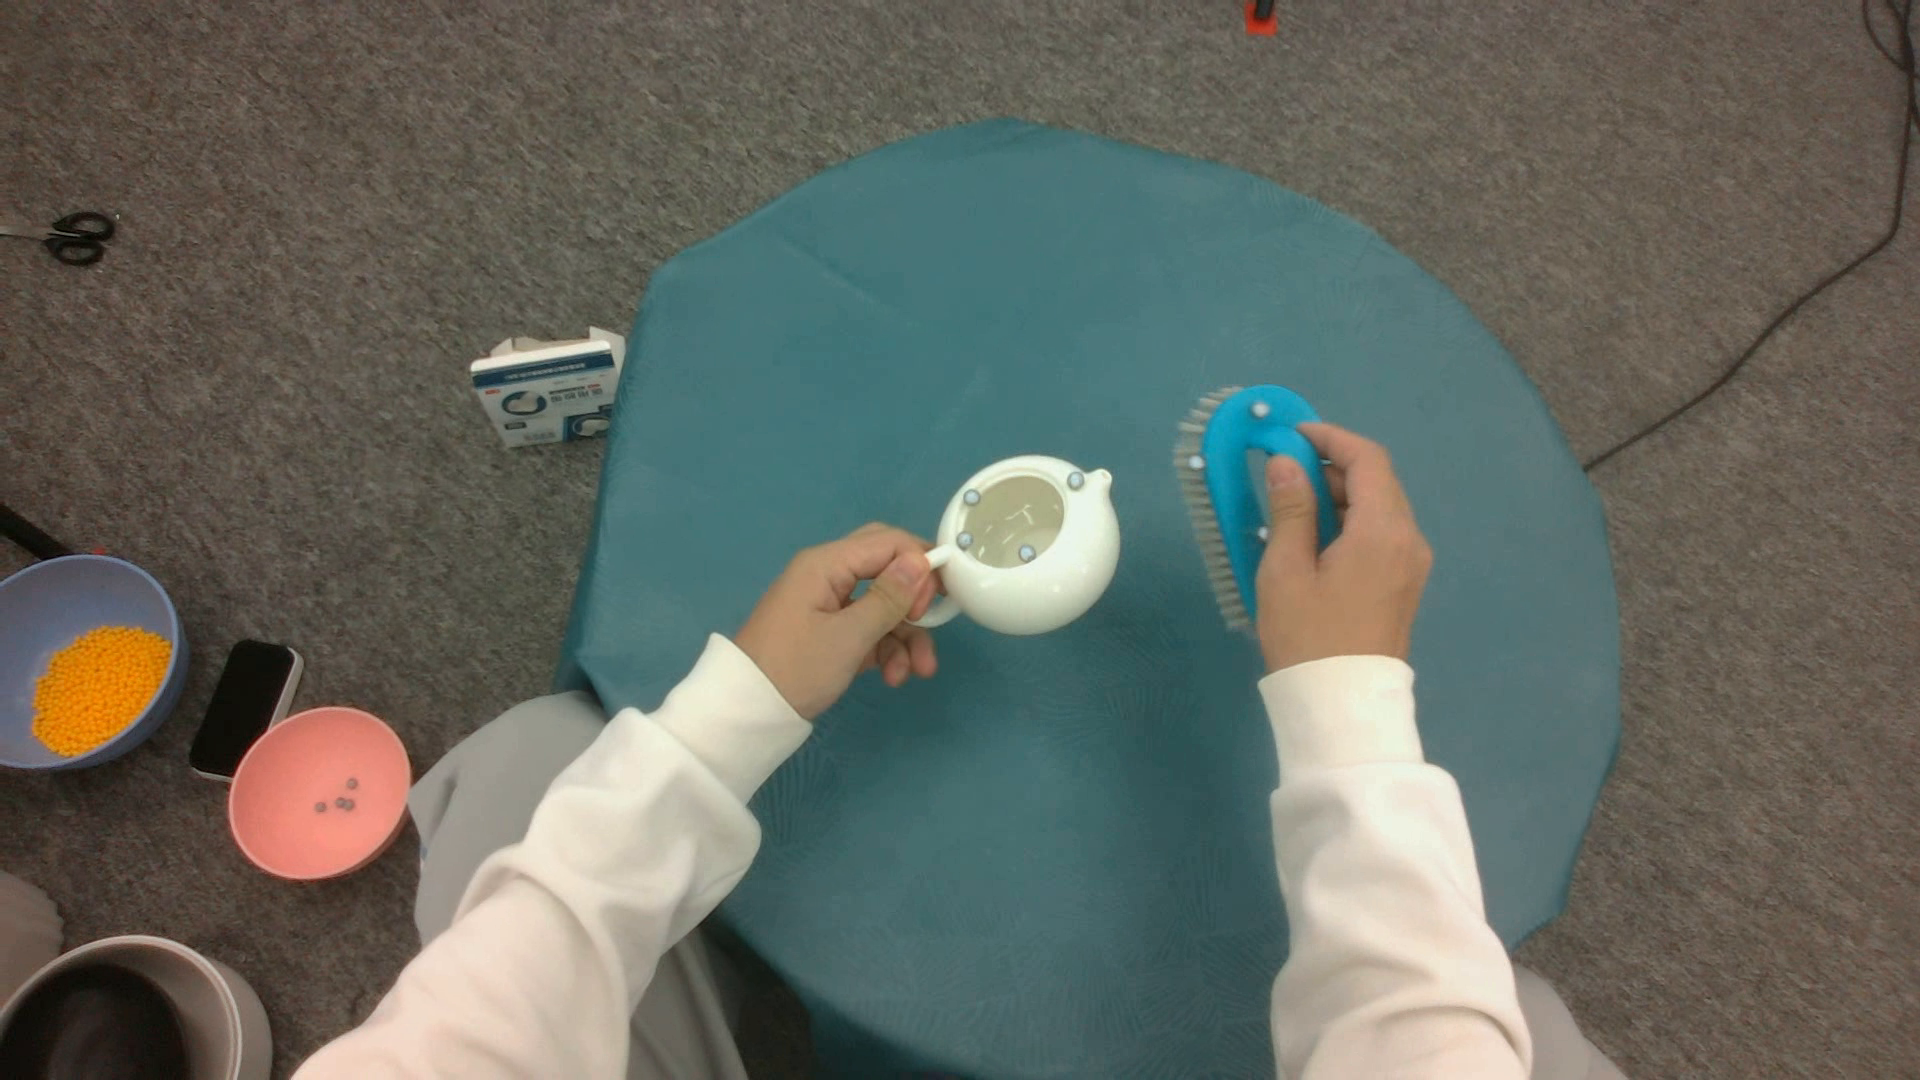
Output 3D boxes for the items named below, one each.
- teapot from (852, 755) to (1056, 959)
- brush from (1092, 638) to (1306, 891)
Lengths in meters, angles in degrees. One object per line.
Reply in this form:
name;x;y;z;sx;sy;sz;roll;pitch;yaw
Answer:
teapot;-0.005;0.164;0.698;0.127;0.056;0.093;-46;48;-7
brush;0.135;0.113;0.725;0.084;0.063;0.142;-27;83;-32
